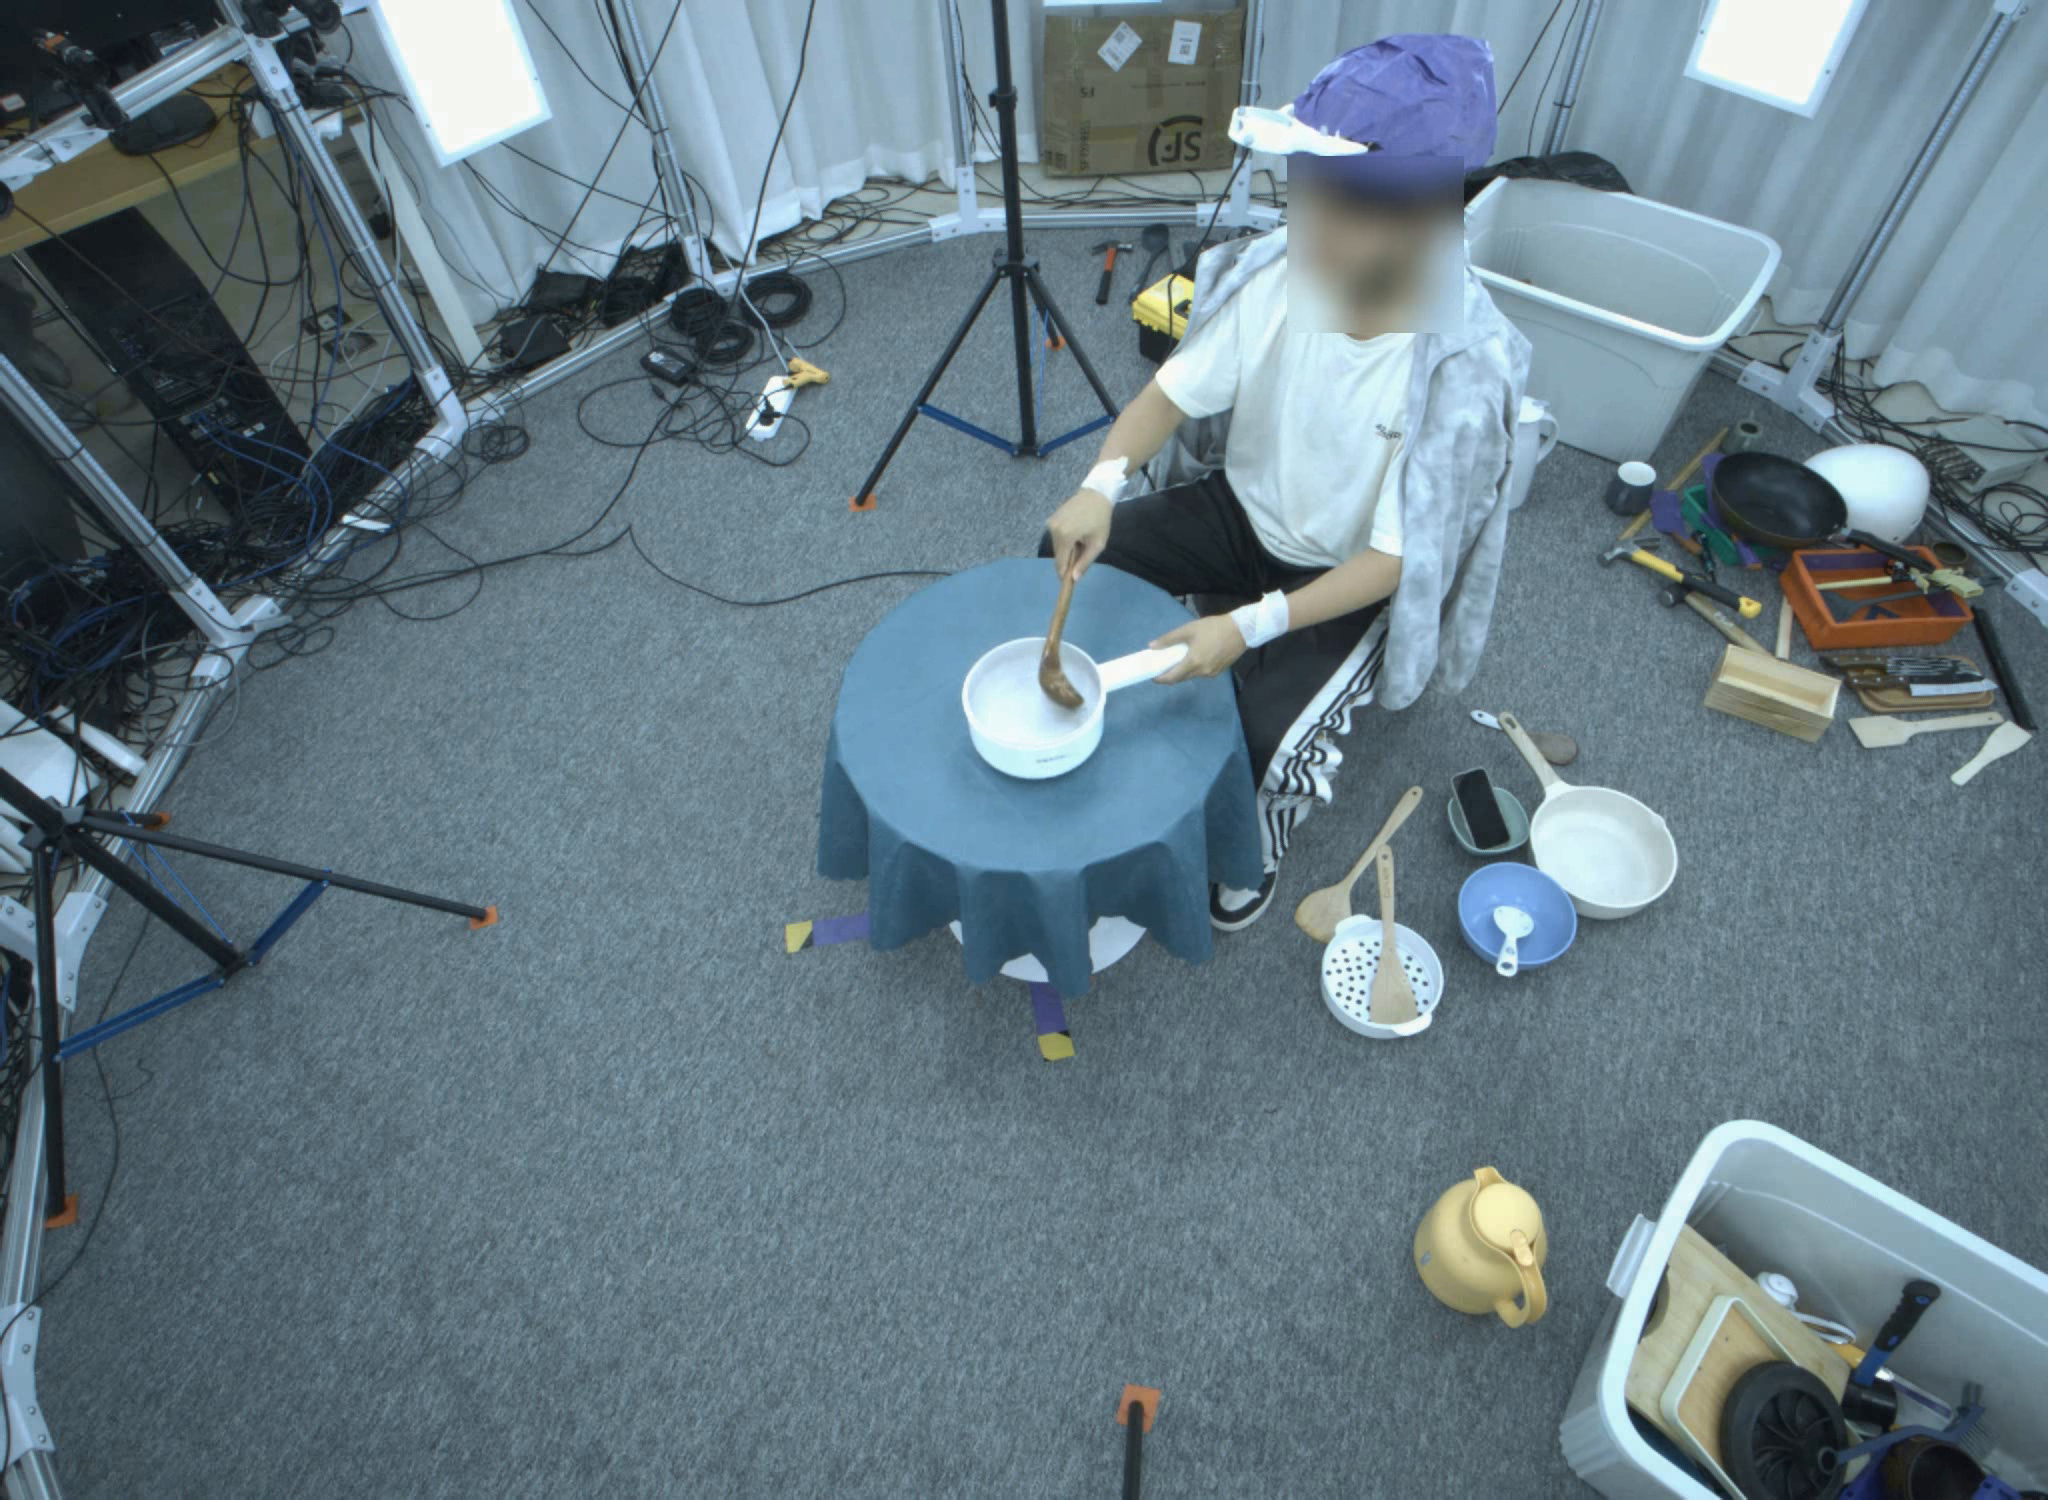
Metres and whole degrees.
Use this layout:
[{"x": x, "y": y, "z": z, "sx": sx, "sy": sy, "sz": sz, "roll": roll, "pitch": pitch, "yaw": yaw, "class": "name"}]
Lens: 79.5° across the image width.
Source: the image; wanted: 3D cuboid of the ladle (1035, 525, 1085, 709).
[{"x": 0.074, "y": -0.192, "z": 1.749, "sx": 0.075, "sy": 0.083, "sz": 0.273, "roll": 11, "pitch": 80, "yaw": 22, "class": "ladle"}]

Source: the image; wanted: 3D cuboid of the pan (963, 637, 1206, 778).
[{"x": 0.090, "y": -0.077, "z": 1.781, "sx": 0.357, "sy": 0.103, "sz": 0.197, "roll": -17, "pitch": 55, "yaw": -10, "class": "pan"}]
